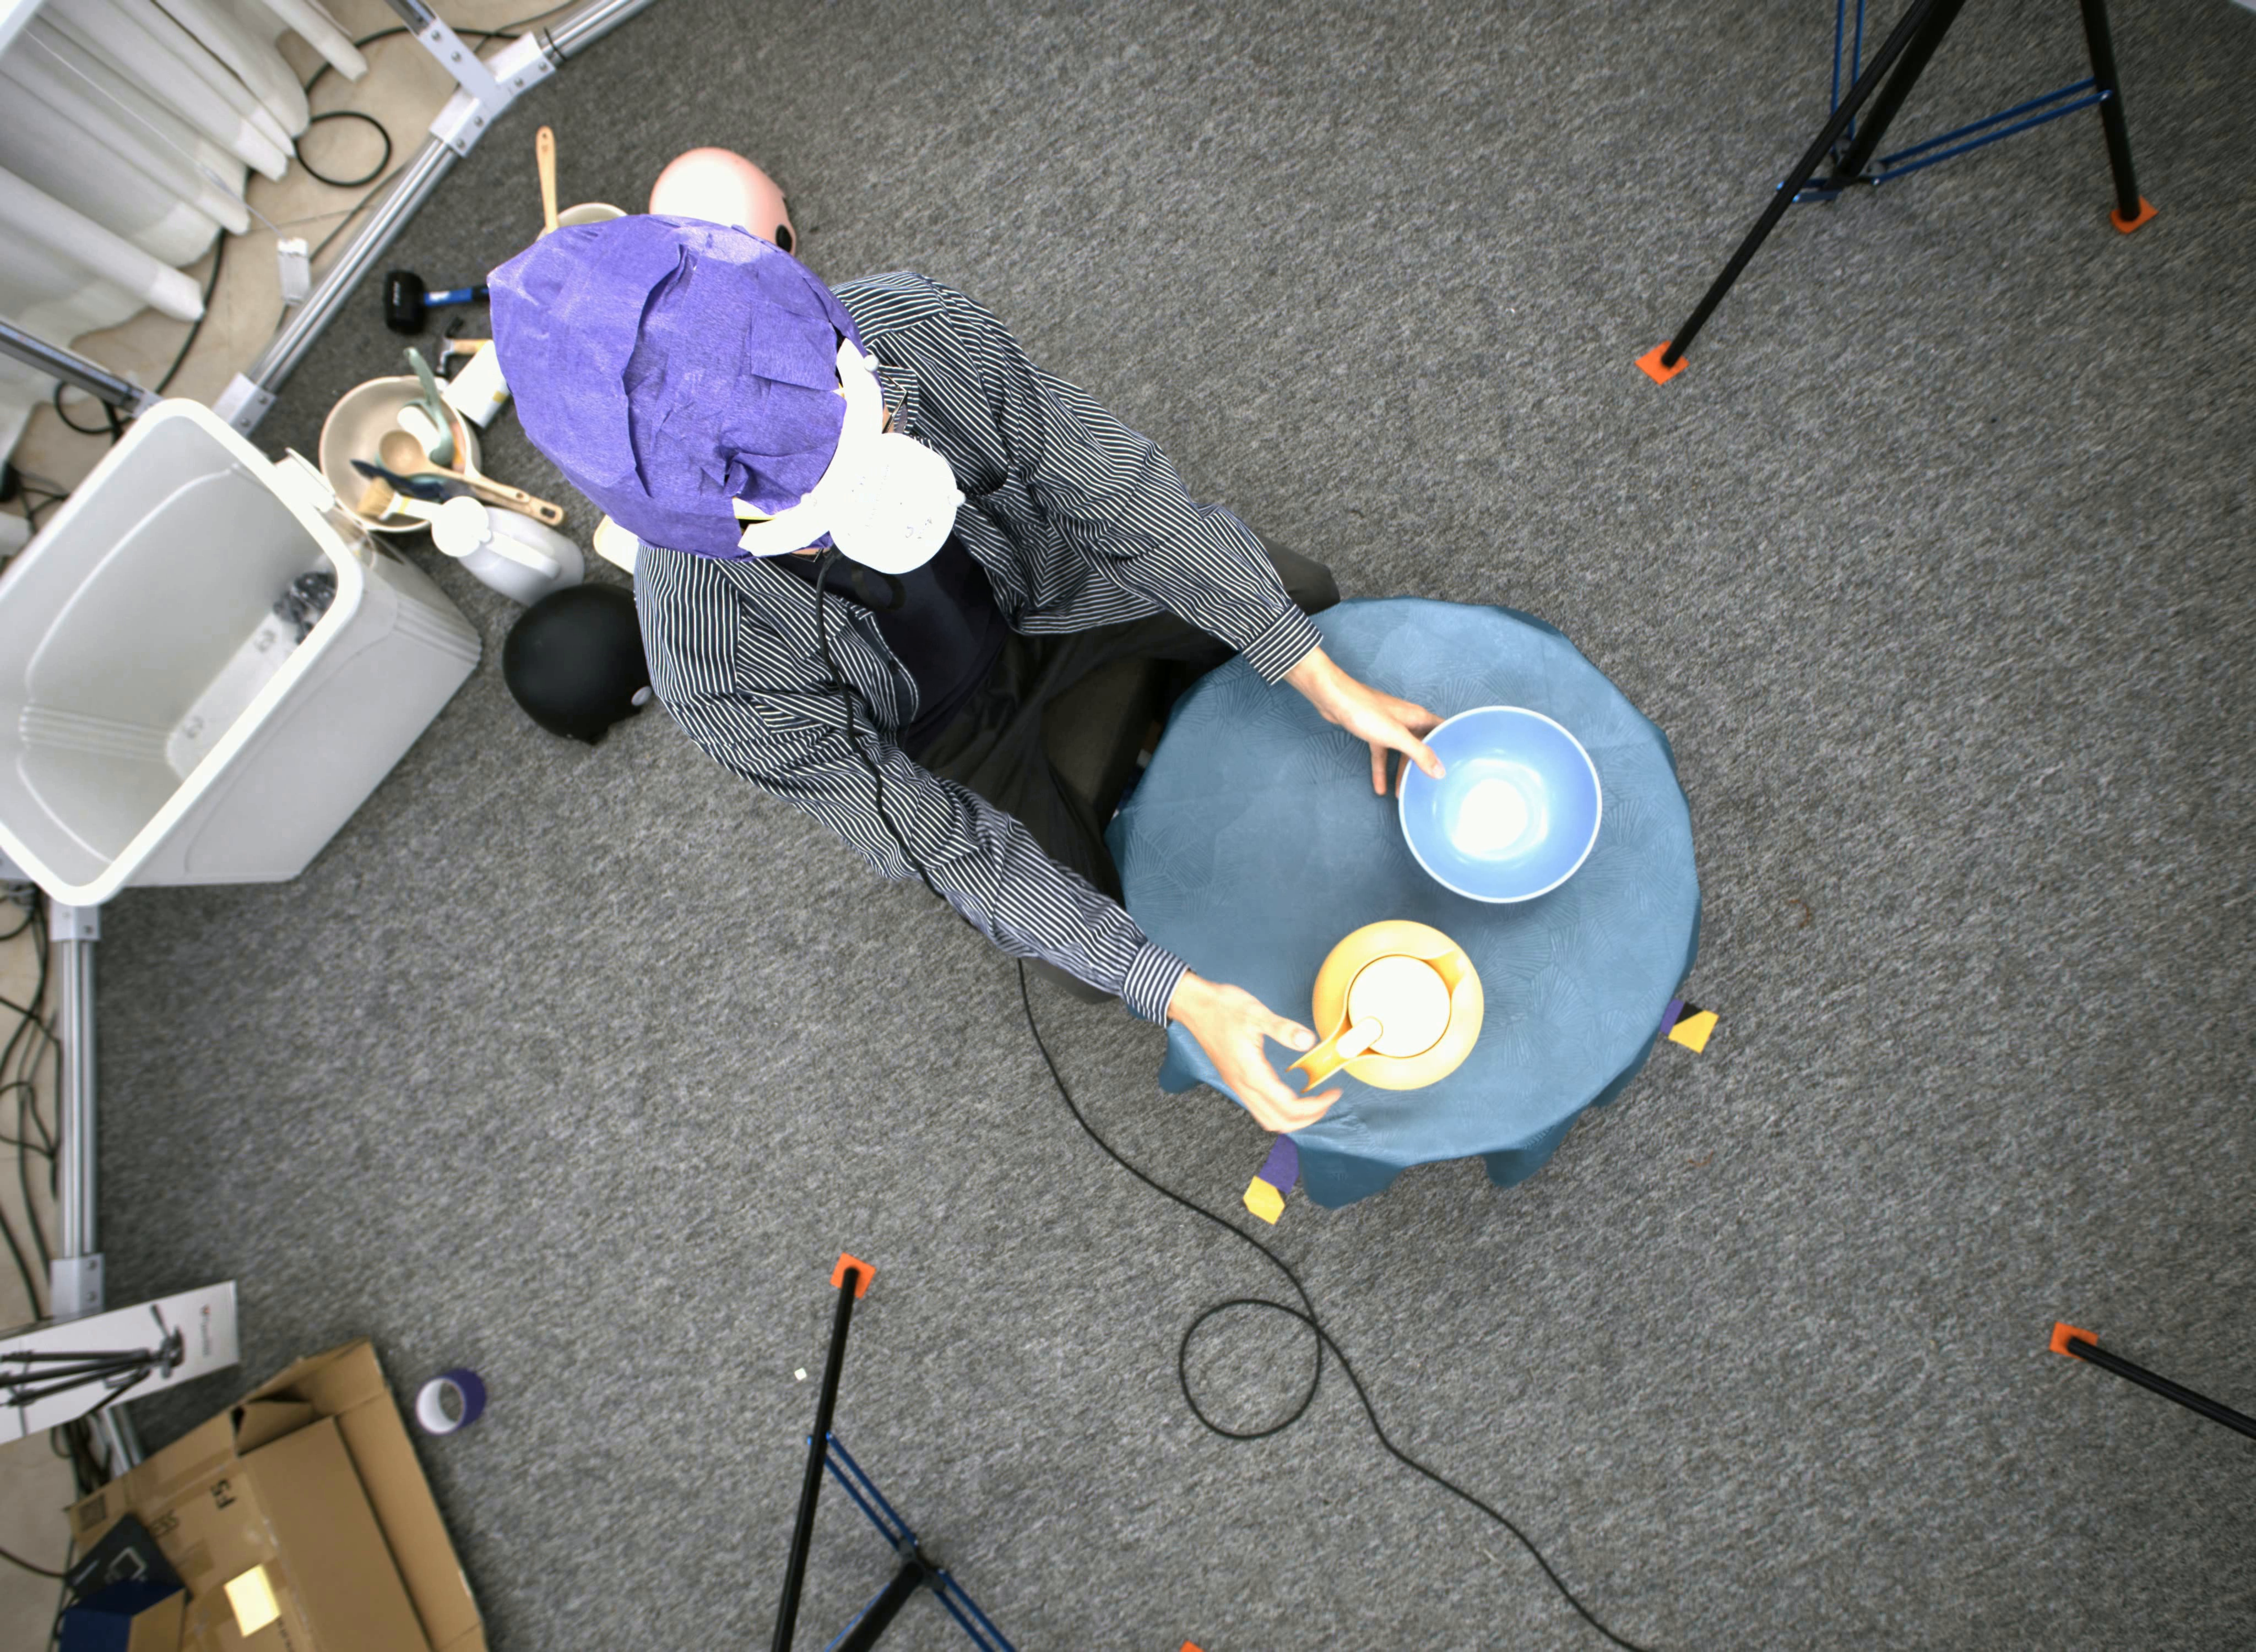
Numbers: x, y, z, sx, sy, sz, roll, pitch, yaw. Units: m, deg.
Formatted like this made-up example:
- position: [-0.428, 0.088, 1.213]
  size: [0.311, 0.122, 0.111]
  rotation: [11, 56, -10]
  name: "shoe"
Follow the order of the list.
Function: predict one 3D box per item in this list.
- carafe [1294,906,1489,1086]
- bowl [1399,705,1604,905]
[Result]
- position: [0.244, 0.166, 1.318]
  size: [0.203, 0.260, 0.162]
  rotation: [-38, 81, 6]
  name: "carafe"
- position: [0.371, -0.019, 1.386]
  size: [0.197, 0.095, 0.196]
  rotation: [-1, 87, 9]
  name: "bowl"
